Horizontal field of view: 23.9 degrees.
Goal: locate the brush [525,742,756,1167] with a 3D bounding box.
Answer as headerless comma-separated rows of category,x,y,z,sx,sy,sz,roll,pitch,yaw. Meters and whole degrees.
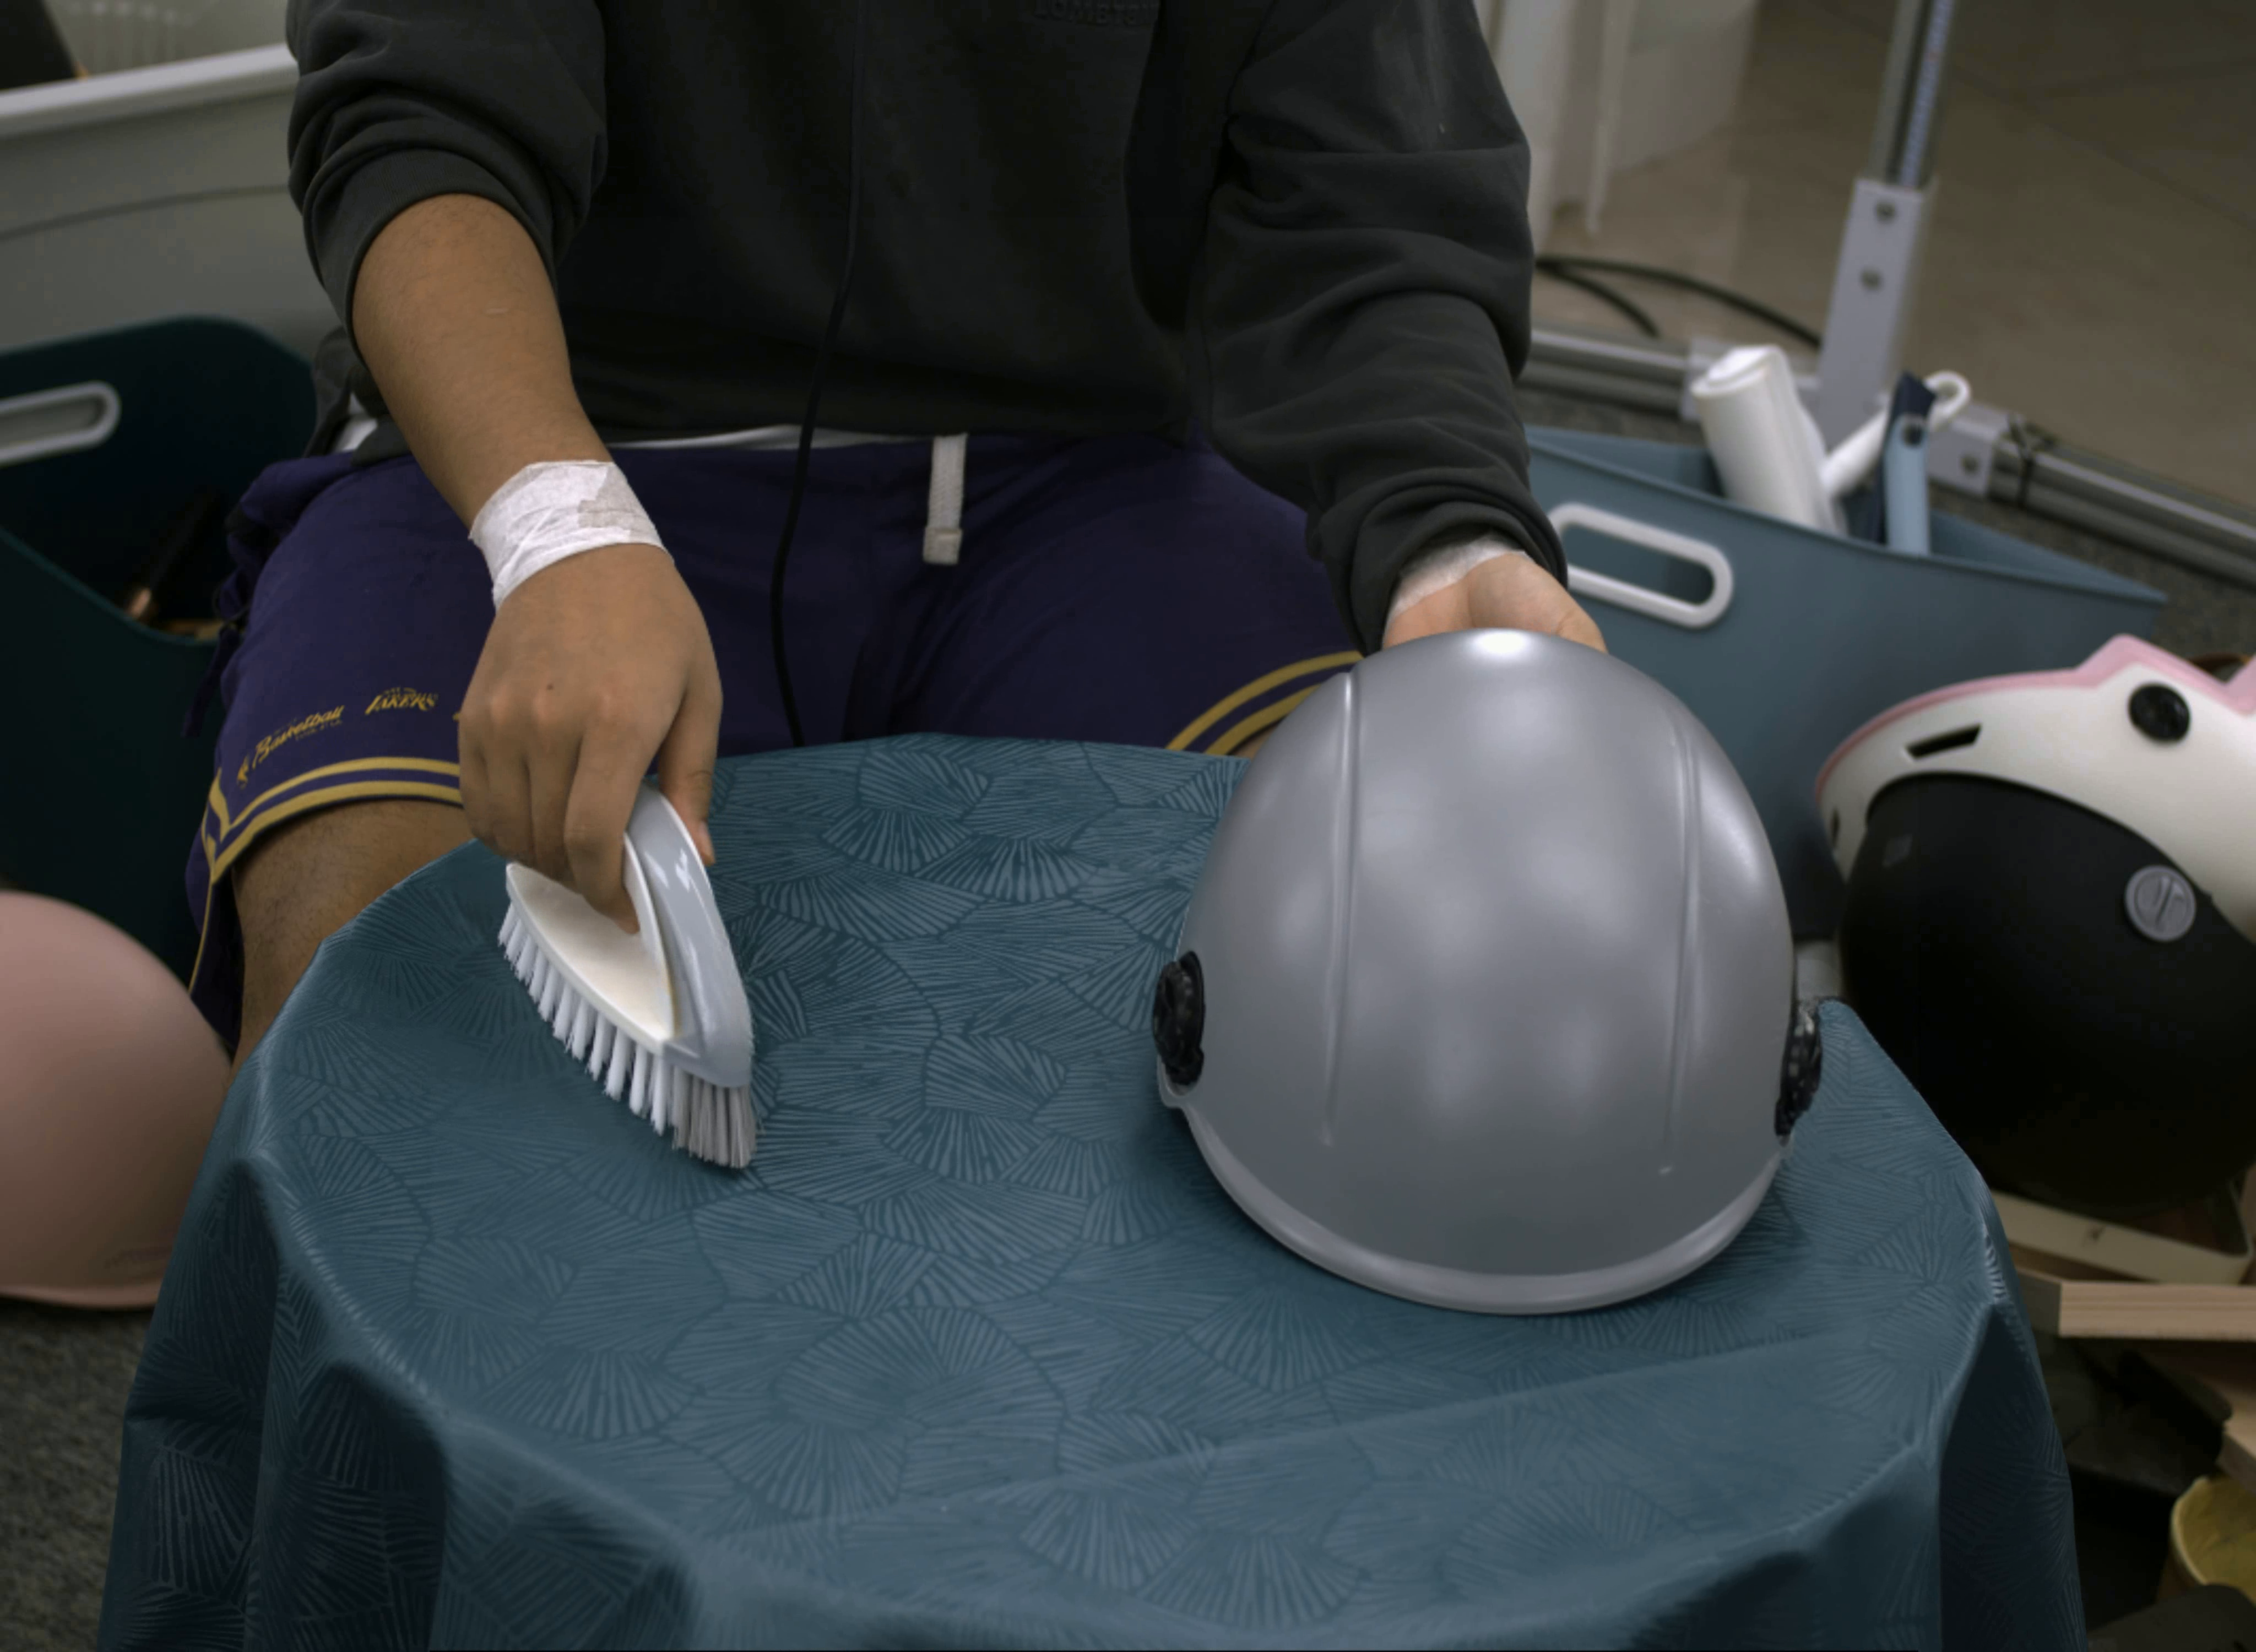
brush,-0.160,0.036,1.833,0.061,0.094,0.177,-8,34,-21

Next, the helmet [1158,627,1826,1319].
helmet,0.128,0.029,1.837,0.231,0.168,0.278,4,29,0
